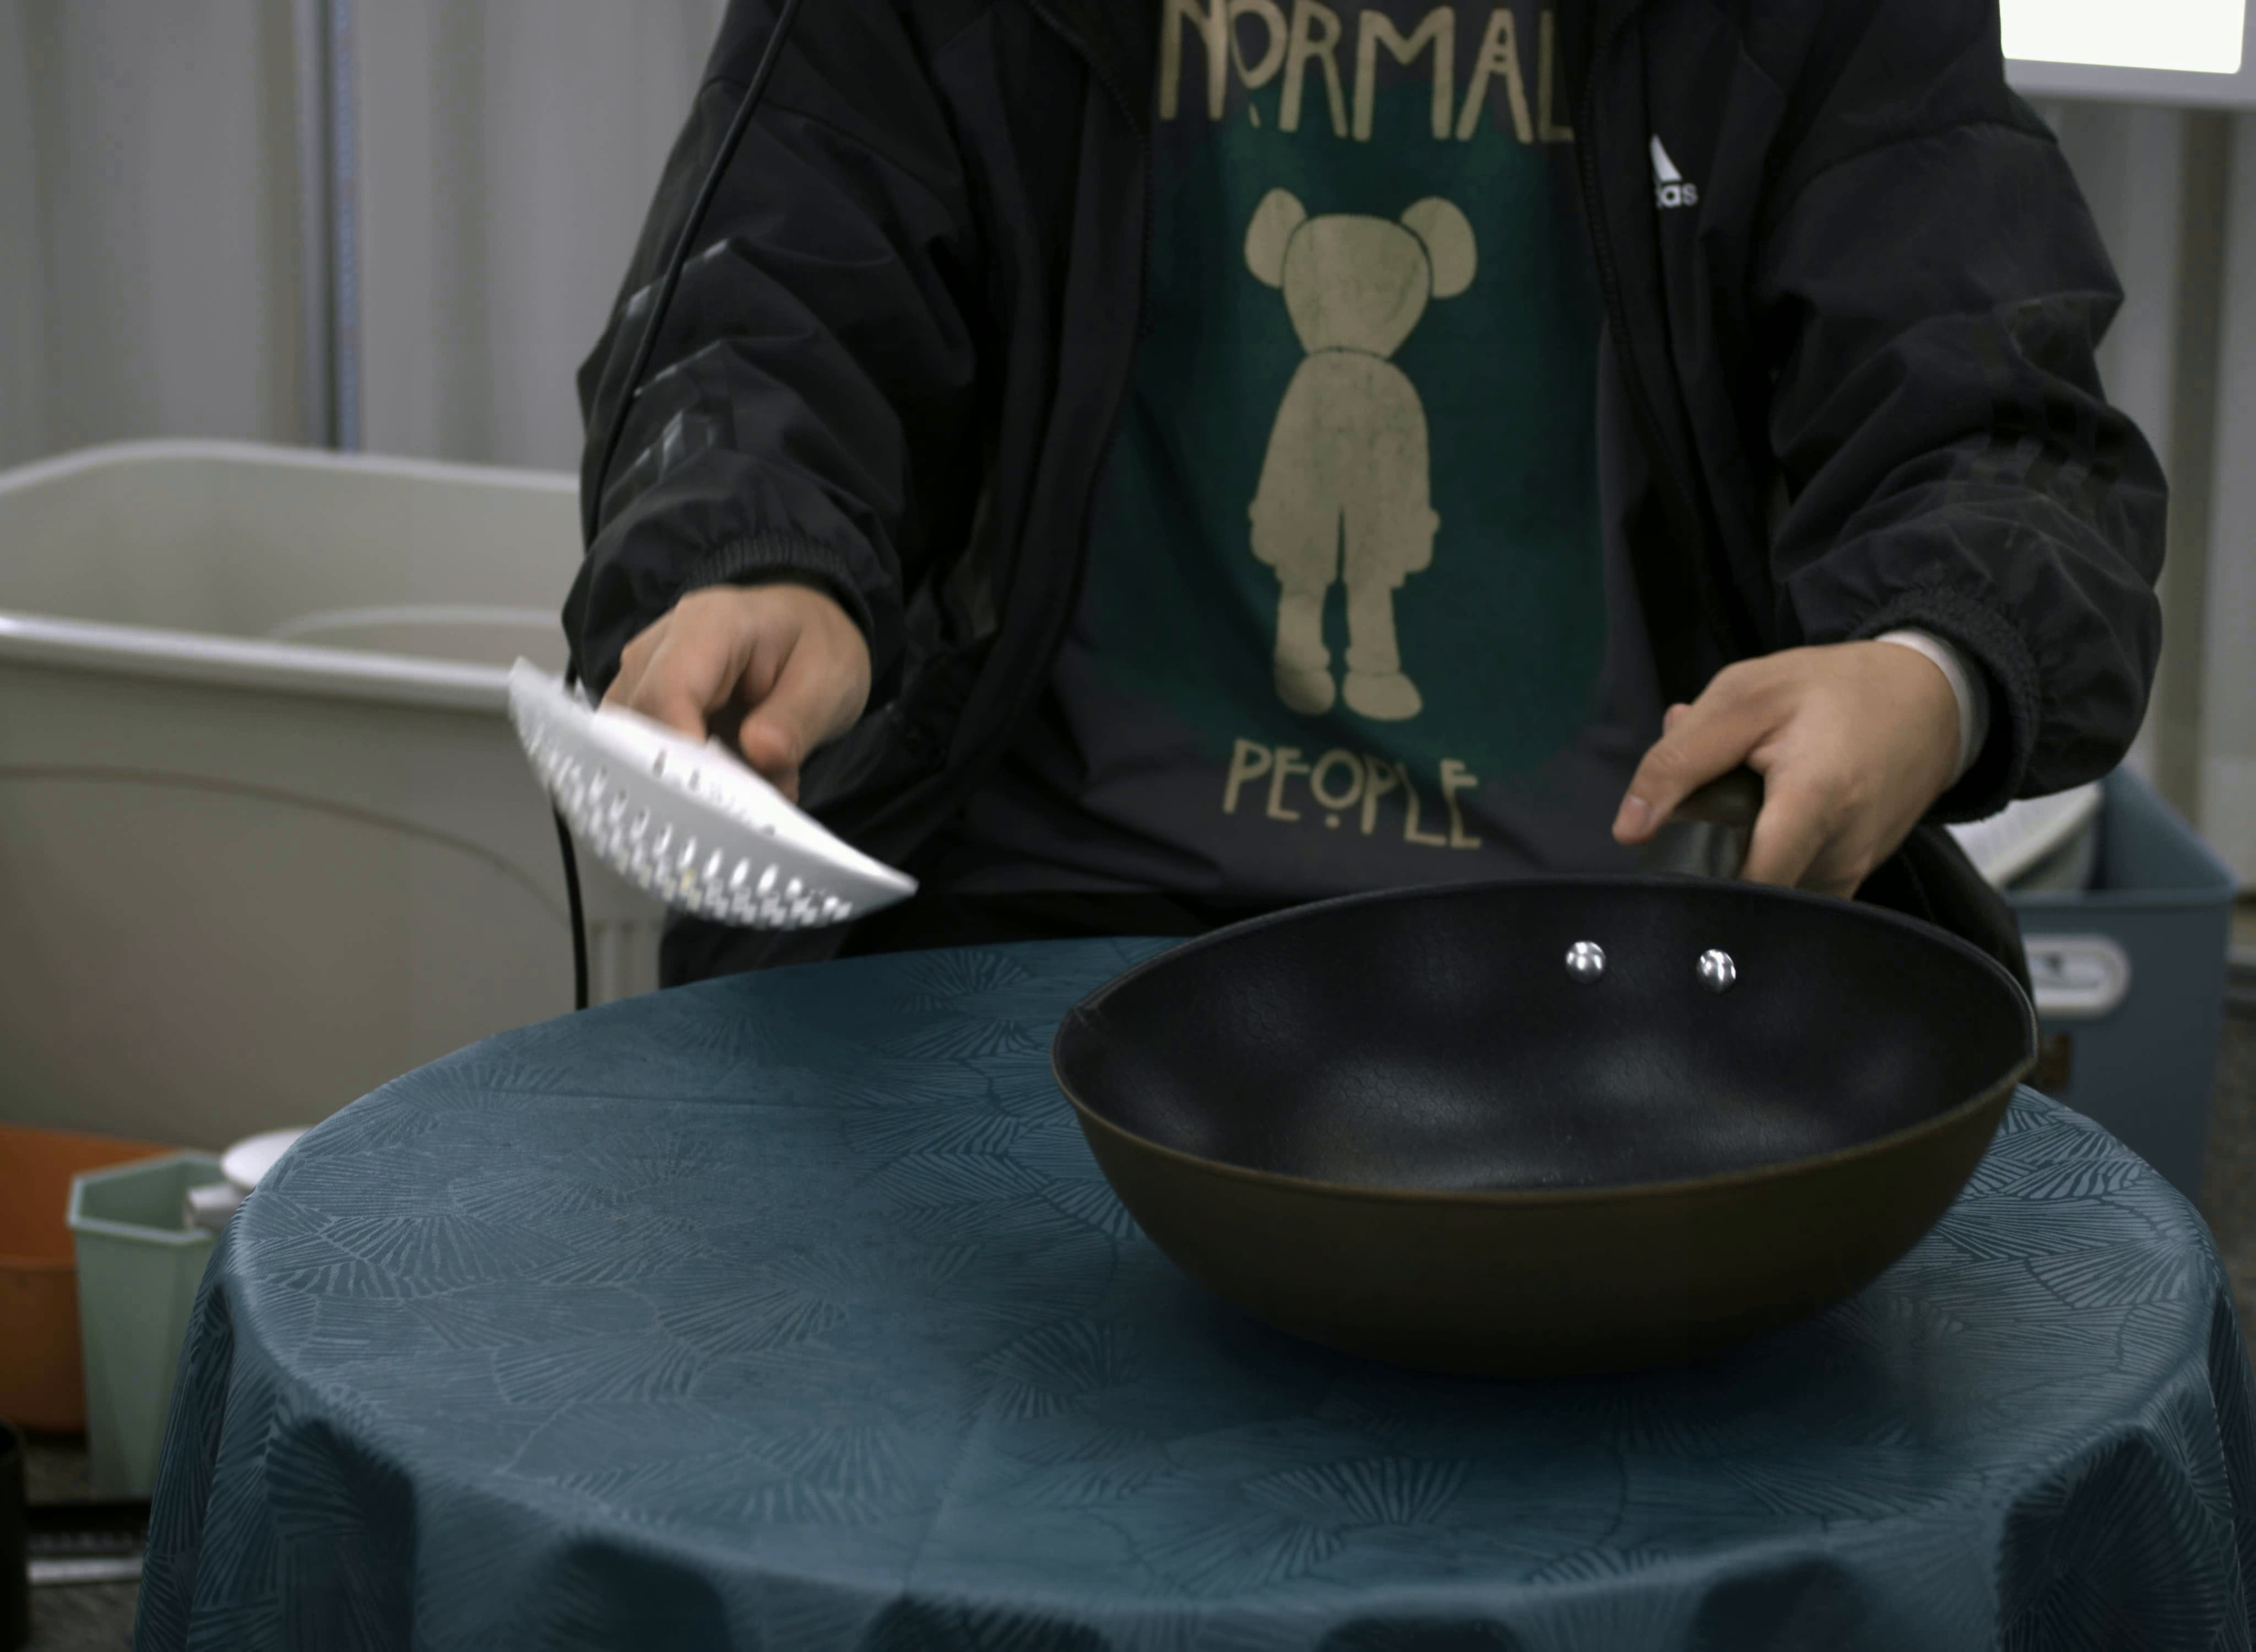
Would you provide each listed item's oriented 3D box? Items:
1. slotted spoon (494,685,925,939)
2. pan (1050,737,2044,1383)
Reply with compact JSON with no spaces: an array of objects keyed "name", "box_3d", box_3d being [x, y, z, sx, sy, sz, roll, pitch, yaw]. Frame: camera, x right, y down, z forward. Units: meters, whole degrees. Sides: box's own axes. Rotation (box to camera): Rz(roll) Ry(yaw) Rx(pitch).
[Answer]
[{"name":"slotted spoon","box_3d":[-0.131,-0.003,1.628,0.137,0.050,0.347,25,4,-3]},{"name":"pan","box_3d":[0.150,0.068,1.601,0.285,0.087,0.463,4,18,19]}]
